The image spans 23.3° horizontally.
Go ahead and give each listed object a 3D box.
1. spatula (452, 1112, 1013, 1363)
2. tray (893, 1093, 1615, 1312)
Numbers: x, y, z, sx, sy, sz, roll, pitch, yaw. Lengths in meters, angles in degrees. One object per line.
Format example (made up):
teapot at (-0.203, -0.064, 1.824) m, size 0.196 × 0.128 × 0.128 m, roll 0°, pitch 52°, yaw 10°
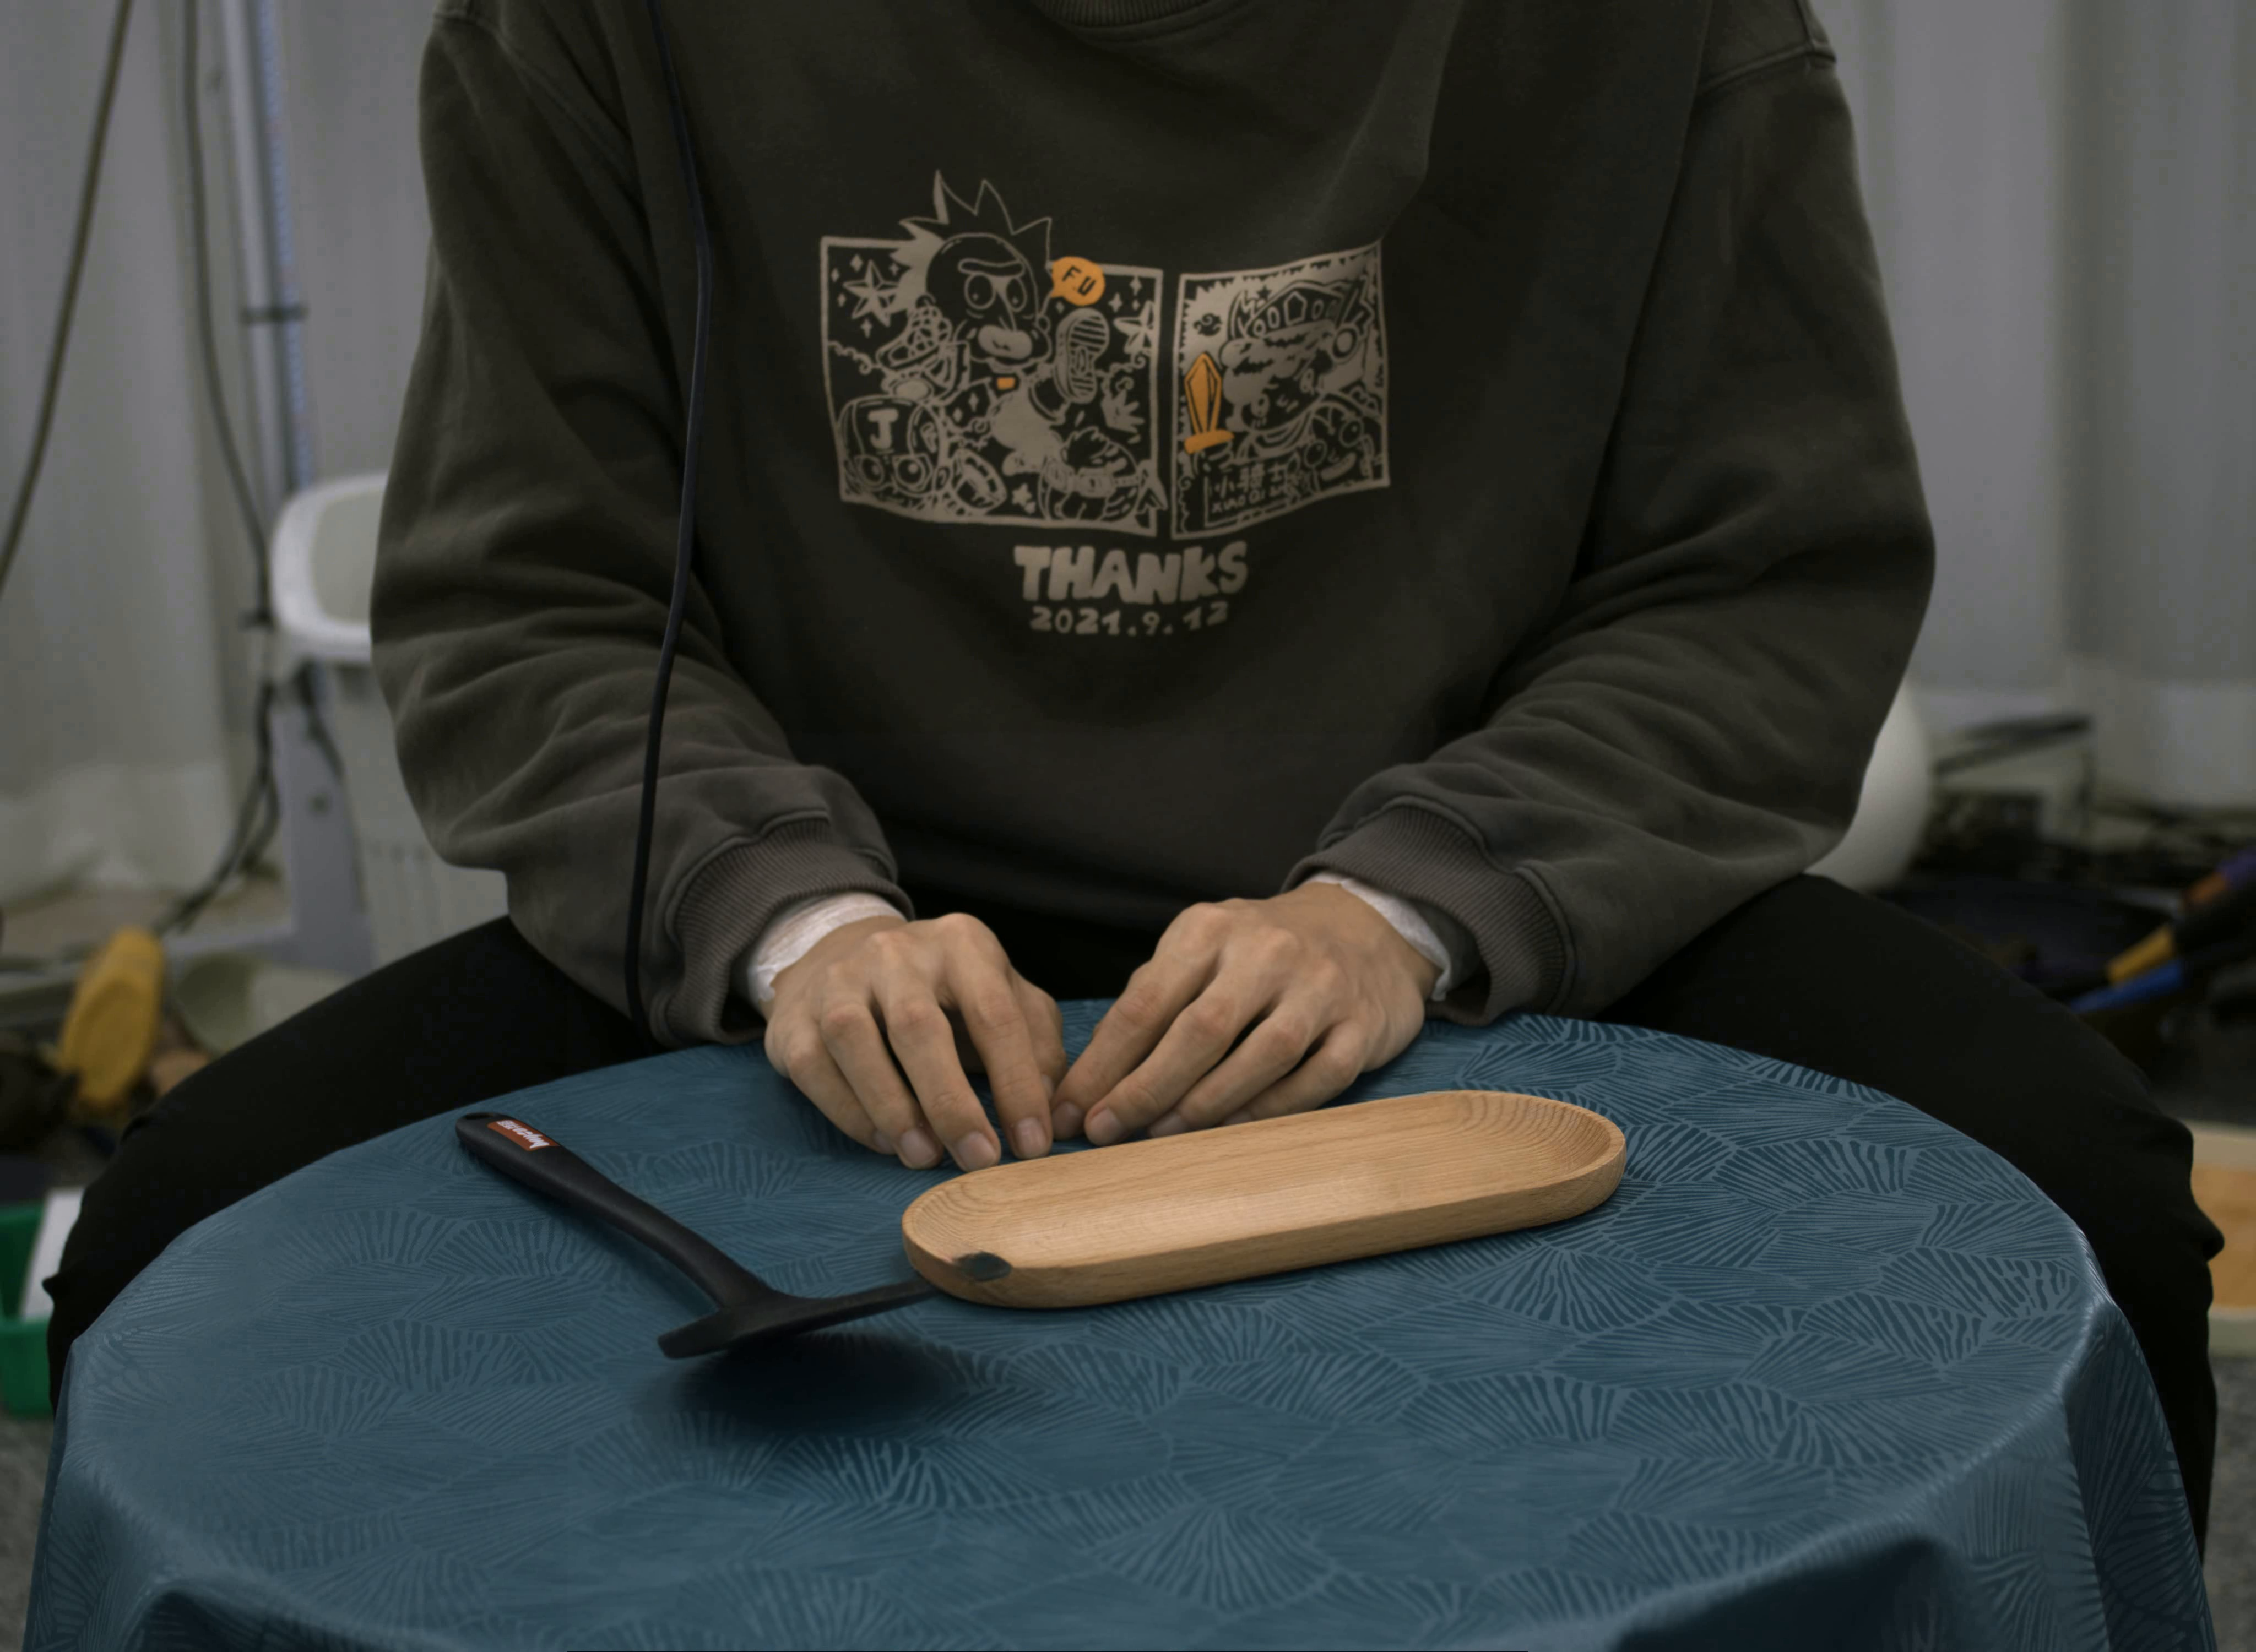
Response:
spatula at (-0.144, 0.118, 1.668) m, size 0.099 × 0.040 × 0.328 m, roll -9°, pitch 16°, yaw -26°
tray at (0.040, 0.116, 1.681) m, size 0.230 × 0.020 × 0.102 m, roll -10°, pitch 16°, yaw -19°
